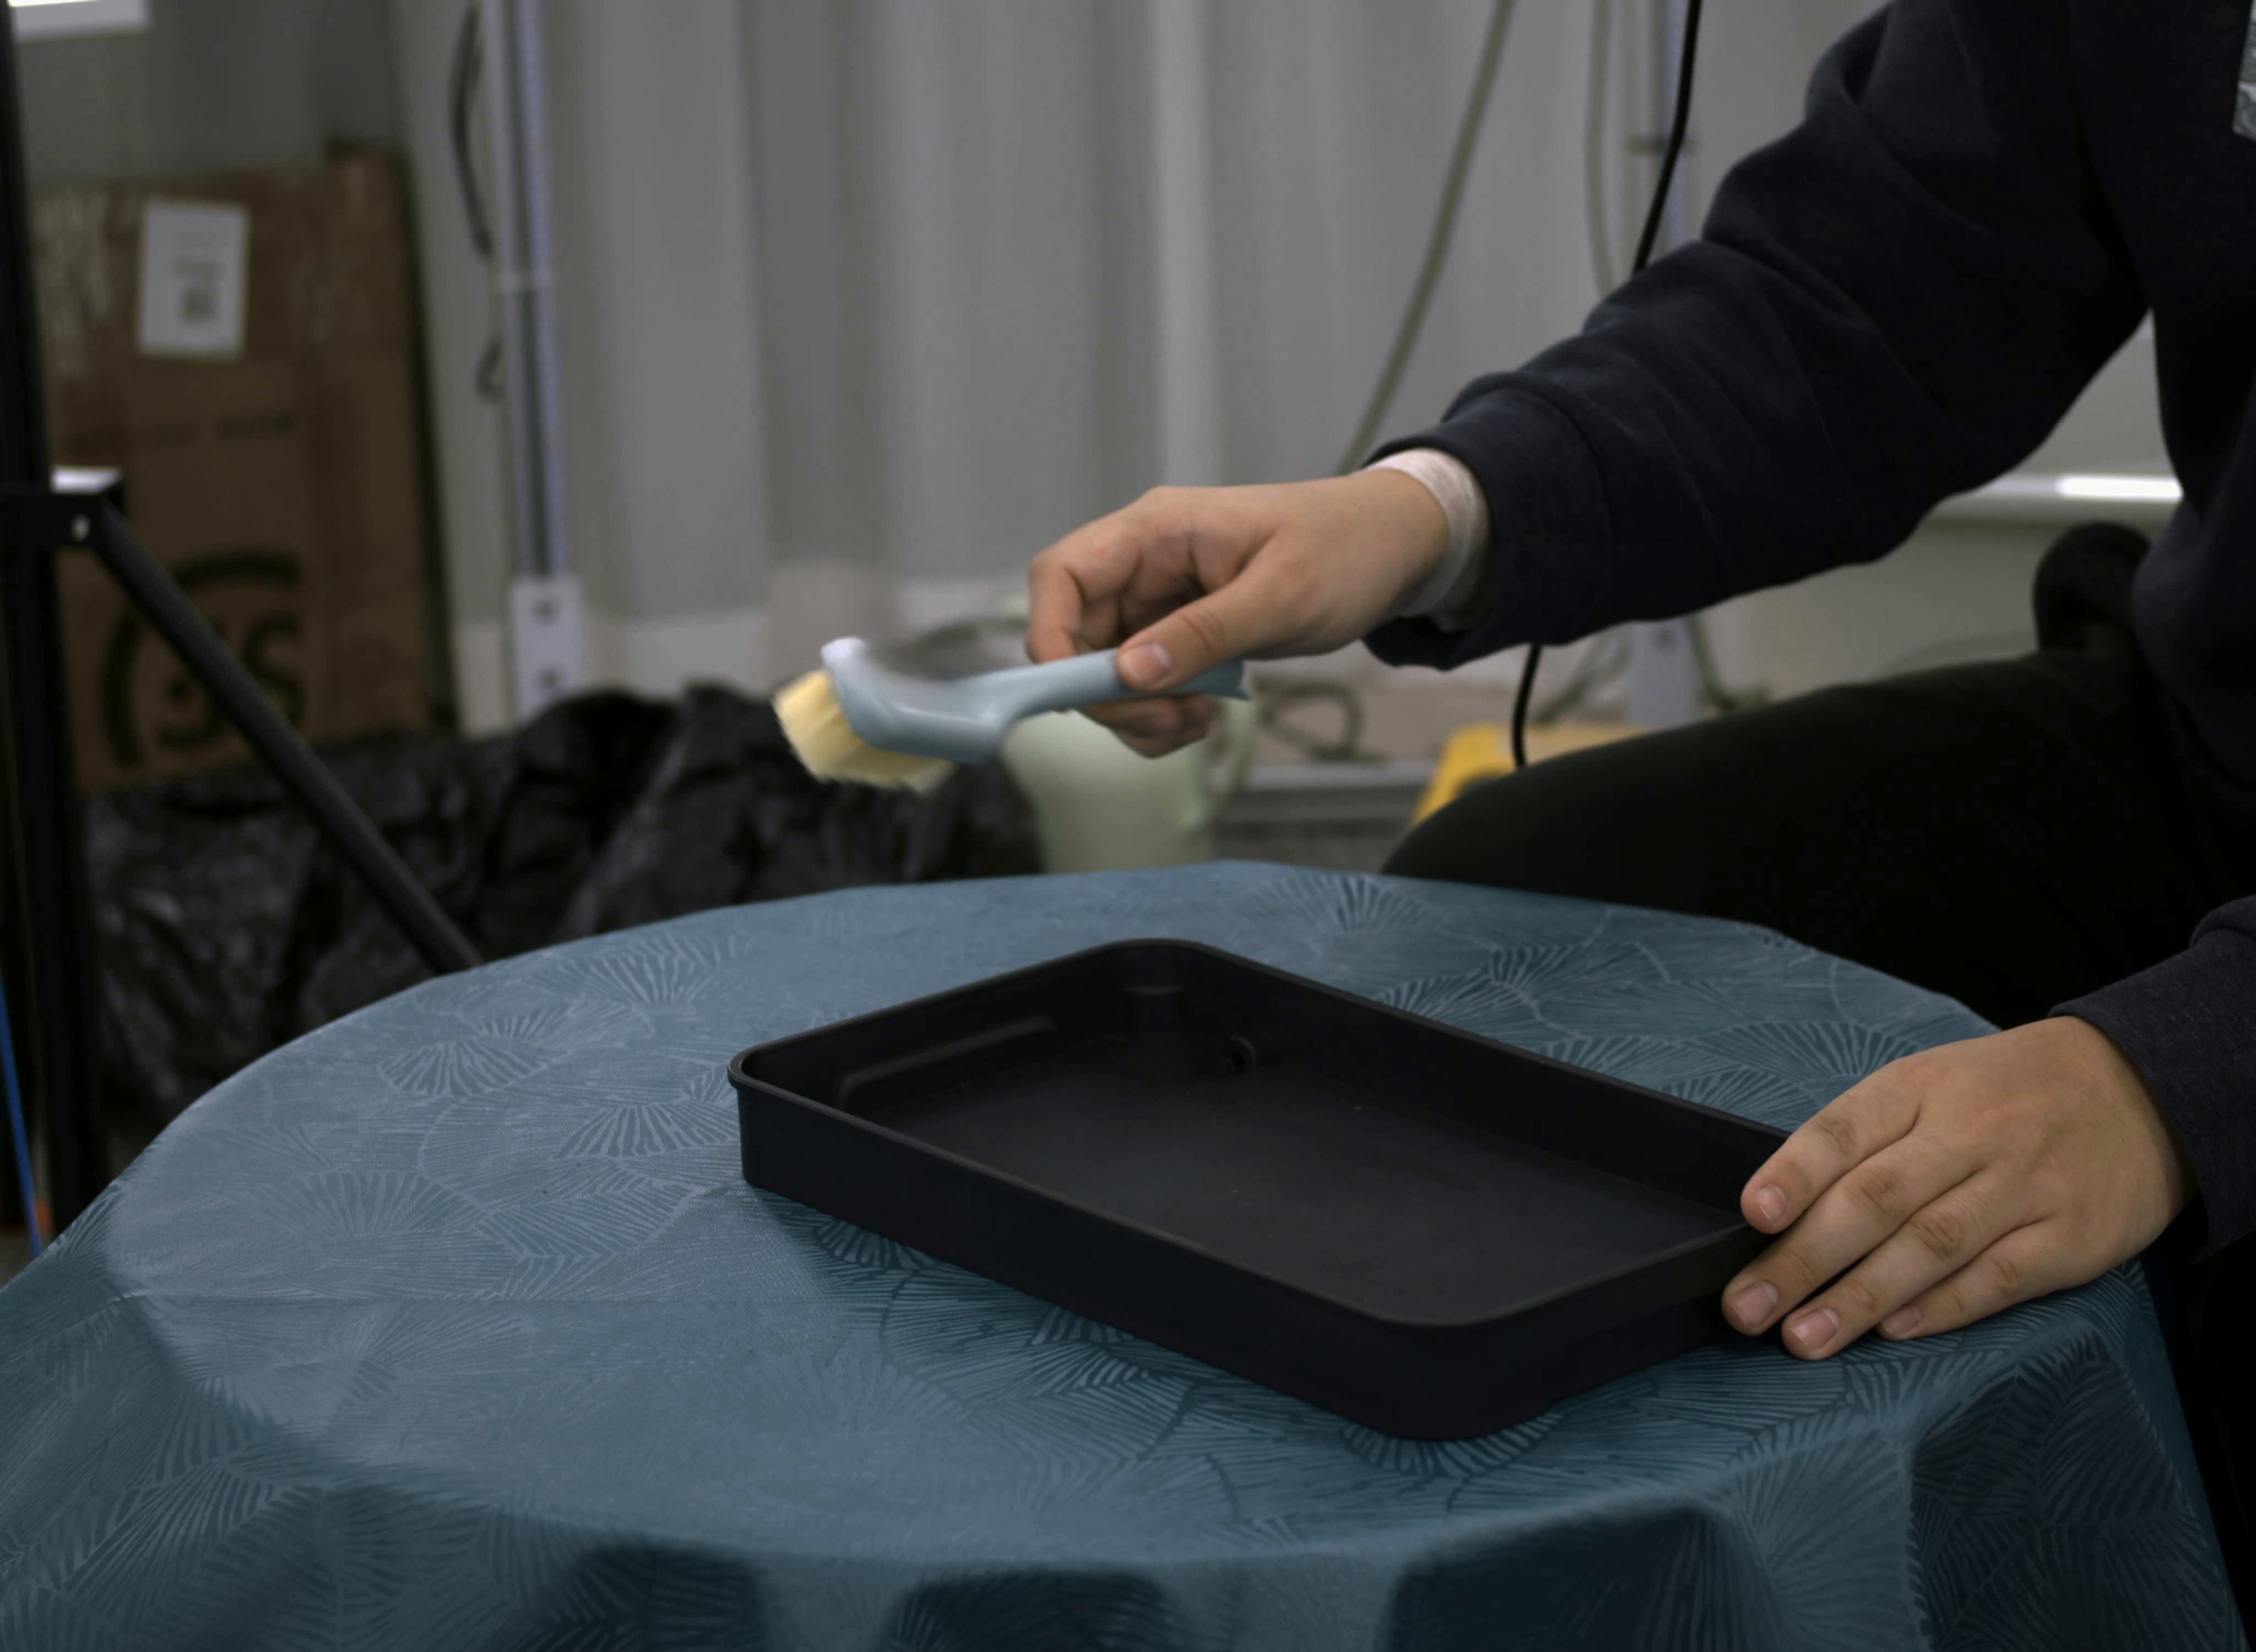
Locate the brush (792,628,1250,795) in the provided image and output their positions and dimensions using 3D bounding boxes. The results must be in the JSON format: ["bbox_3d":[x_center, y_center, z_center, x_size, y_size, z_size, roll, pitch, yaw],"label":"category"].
[{"bbox_3d":[-0.029,-0.038,1.661,0.050,0.038,0.223,-45,-18,30],"label":"brush"}]

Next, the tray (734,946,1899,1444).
[{"bbox_3d":[0.048,0.099,1.515,0.180,0.037,0.325,-15,20,-39],"label":"tray"}]
